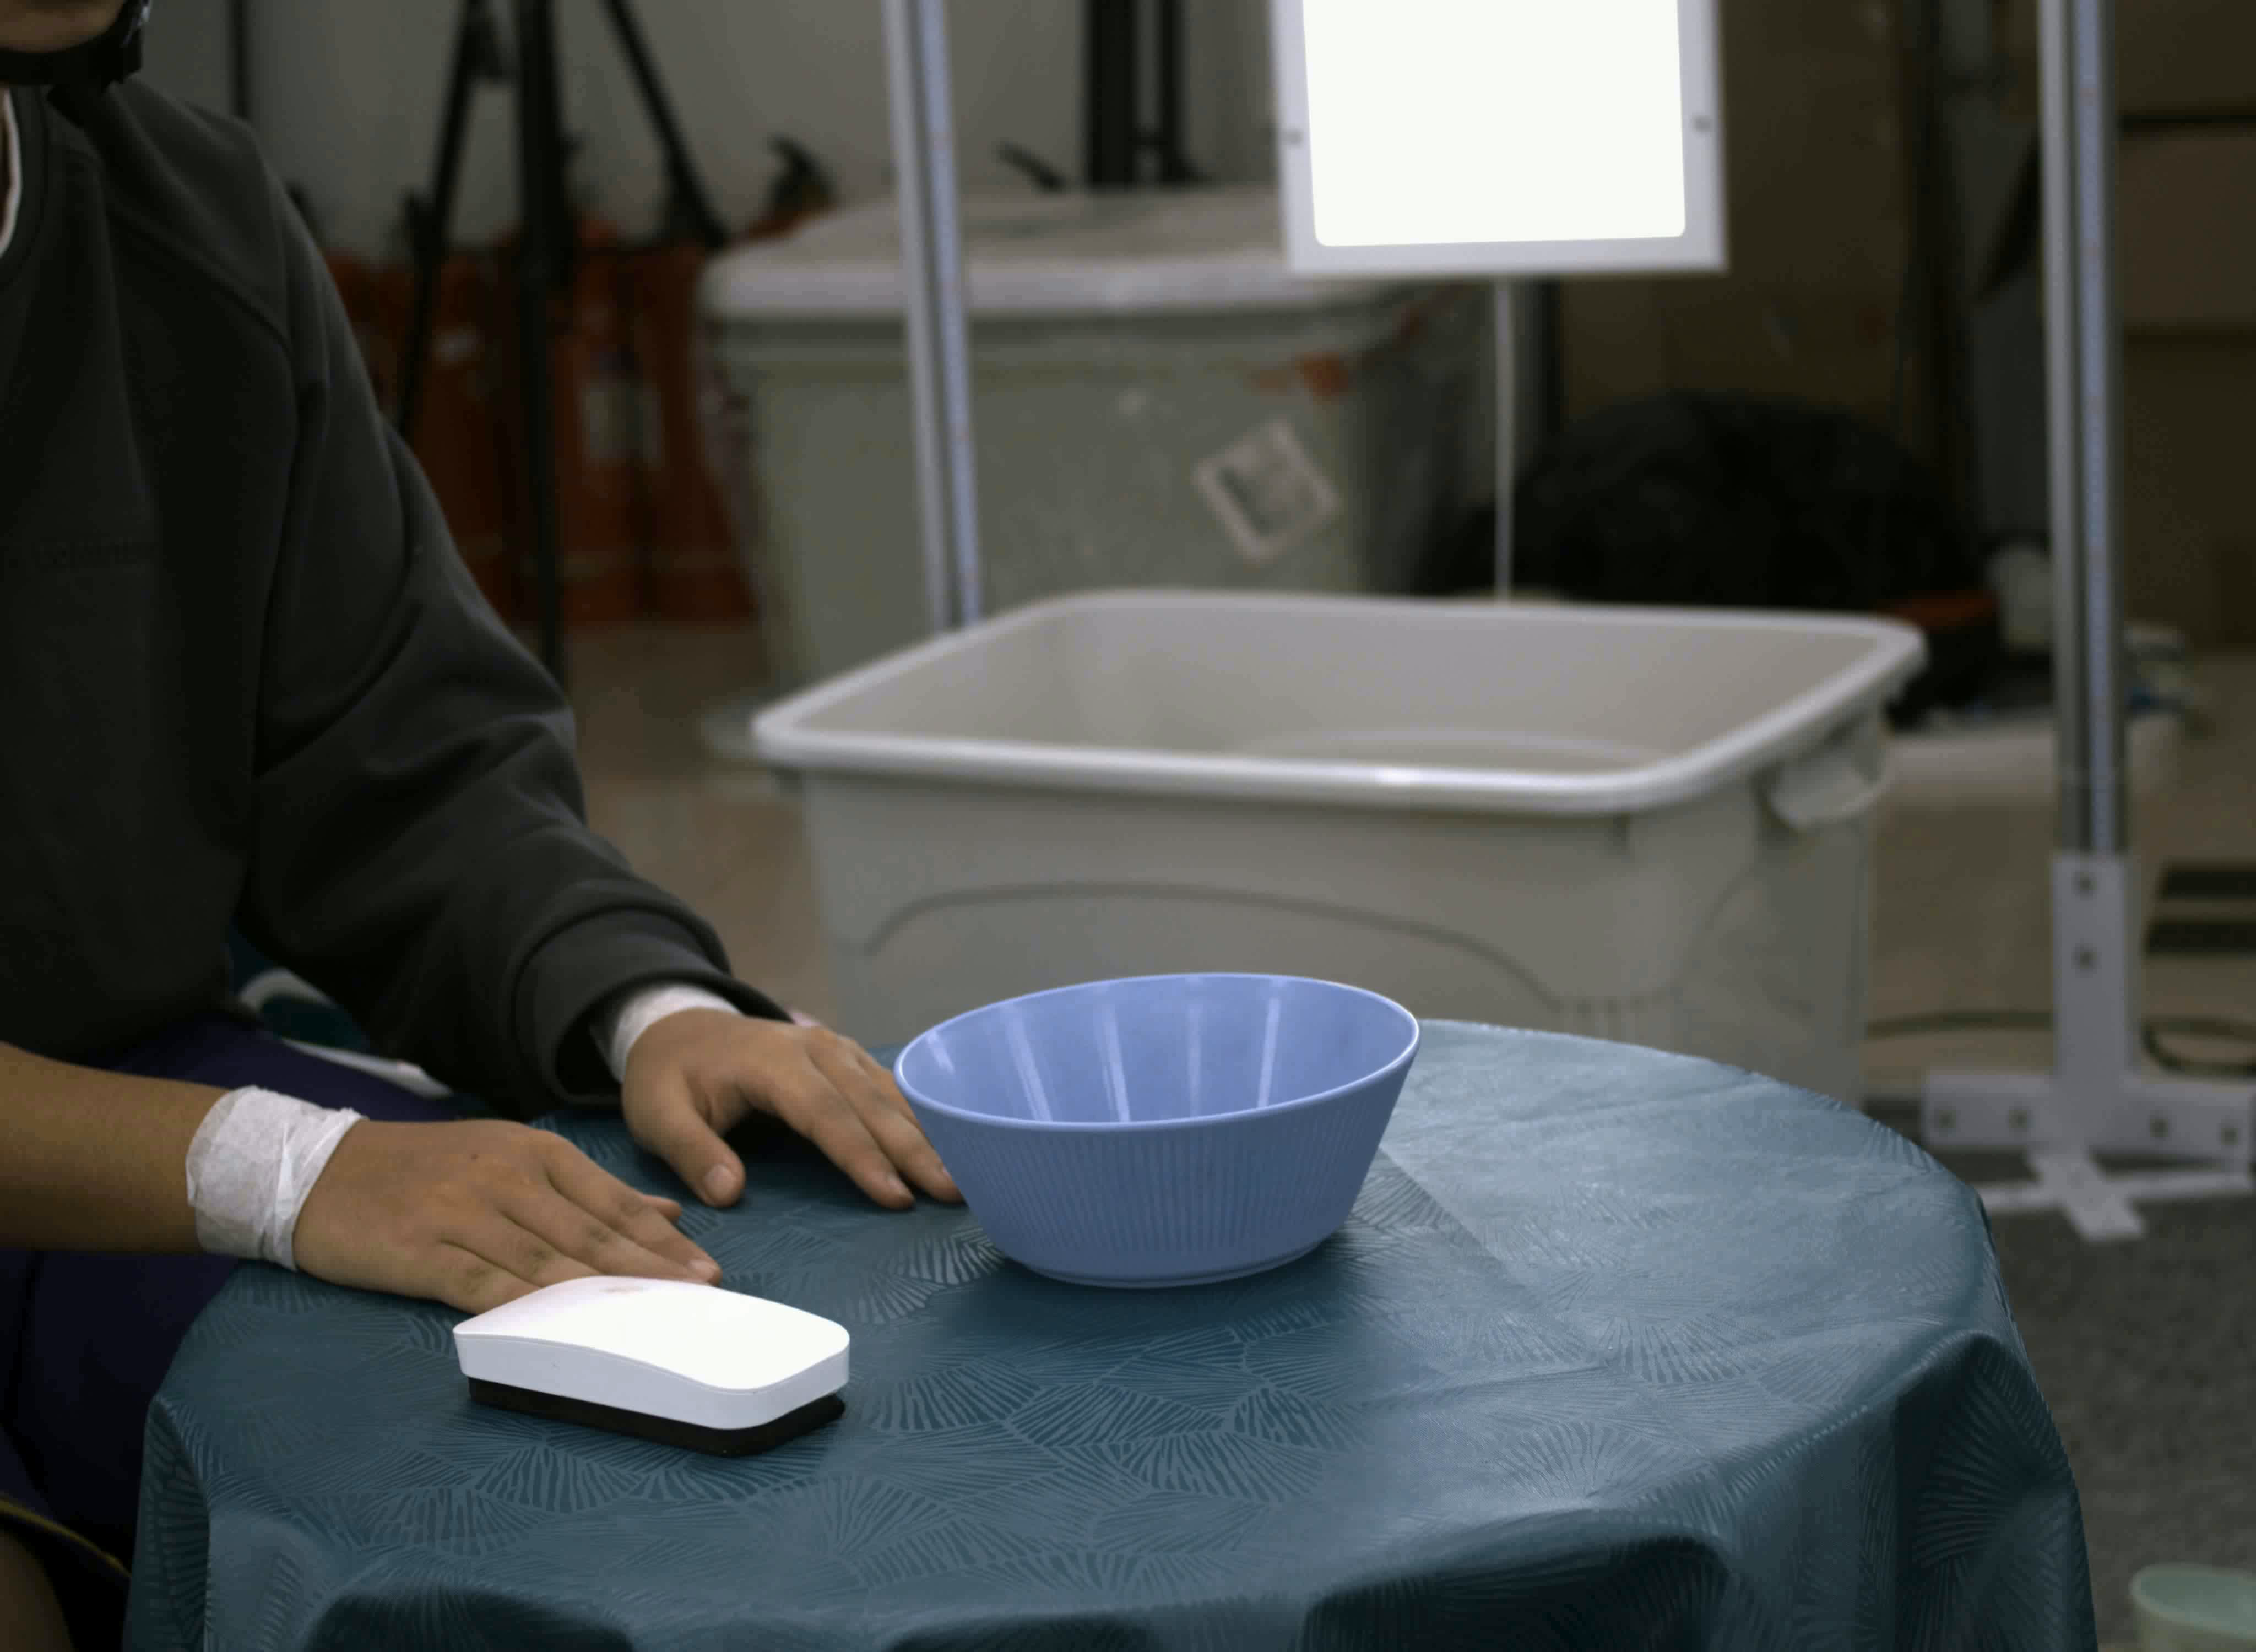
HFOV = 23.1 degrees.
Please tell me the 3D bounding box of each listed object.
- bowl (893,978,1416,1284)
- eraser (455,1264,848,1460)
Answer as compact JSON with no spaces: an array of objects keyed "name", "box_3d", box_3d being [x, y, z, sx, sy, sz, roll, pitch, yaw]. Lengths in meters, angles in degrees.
[{"name":"bowl","box_3d":[0.011,0.104,1.835,0.175,0.070,0.176,-4,13,0]},{"name":"eraser","box_3d":[-0.148,0.165,1.727,0.134,0.034,0.062,10,19,41]}]
